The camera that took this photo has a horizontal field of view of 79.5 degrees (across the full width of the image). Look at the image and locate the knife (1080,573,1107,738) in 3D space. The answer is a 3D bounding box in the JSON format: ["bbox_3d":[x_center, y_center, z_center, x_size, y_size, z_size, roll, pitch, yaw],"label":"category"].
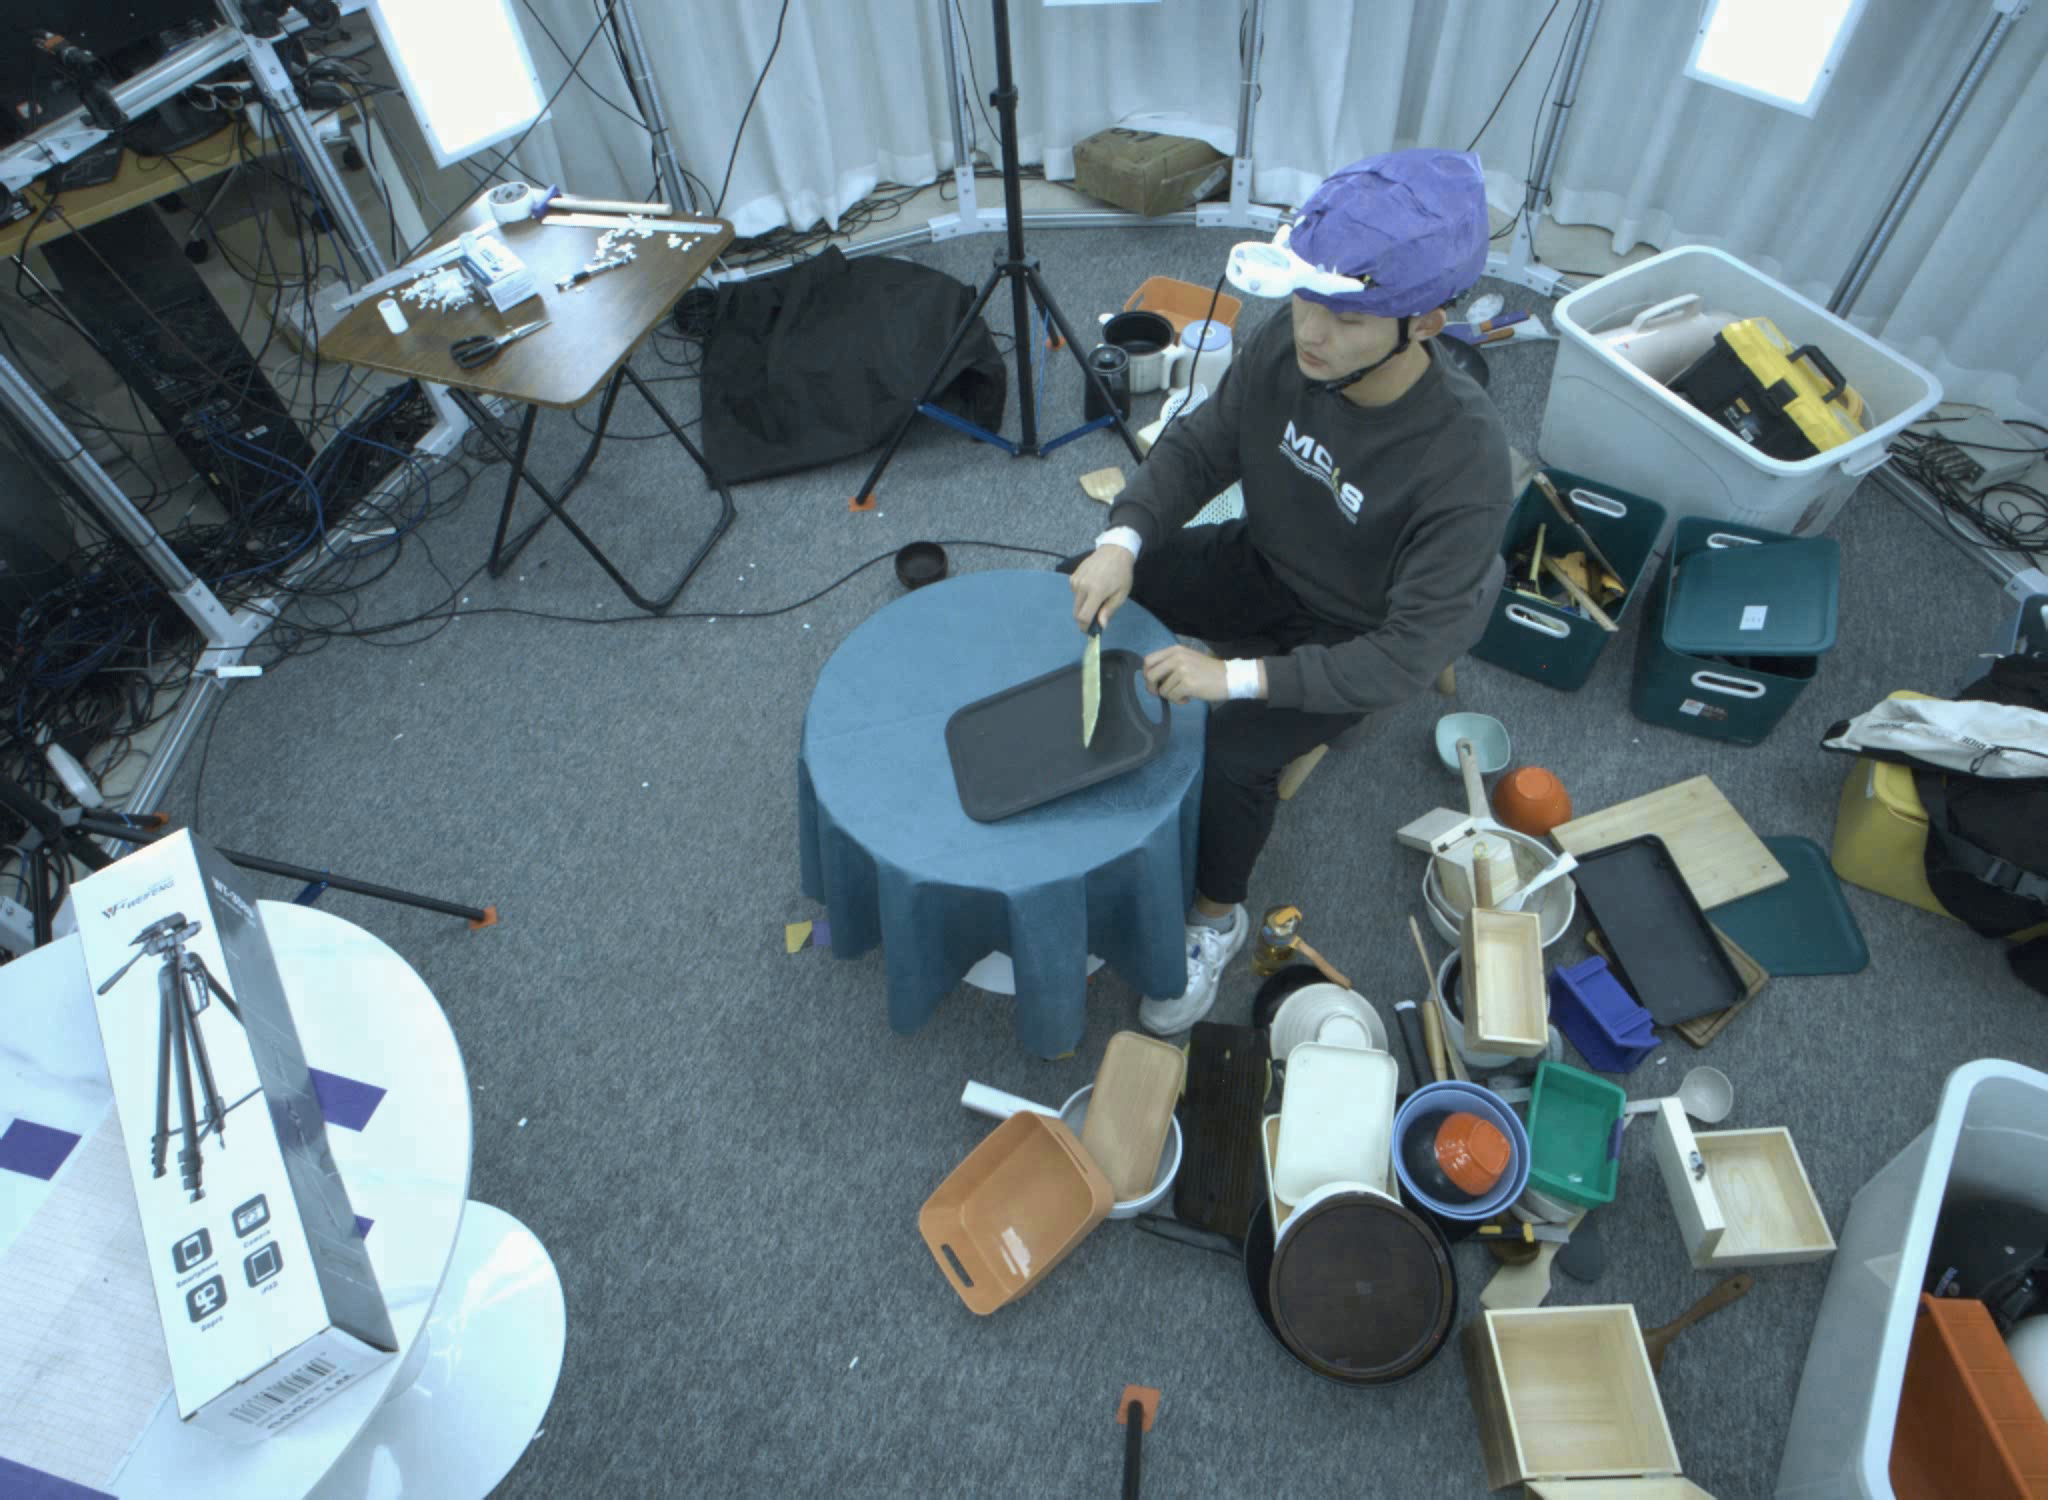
[{"bbox_3d":[0.096,-0.138,1.773,0.027,0.081,0.287,14,56,-13],"label":"knife"}]

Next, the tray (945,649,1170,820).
[{"bbox_3d":[0.048,-0.030,1.762,0.324,0.010,0.208,-20,56,5],"label":"tray"}]
